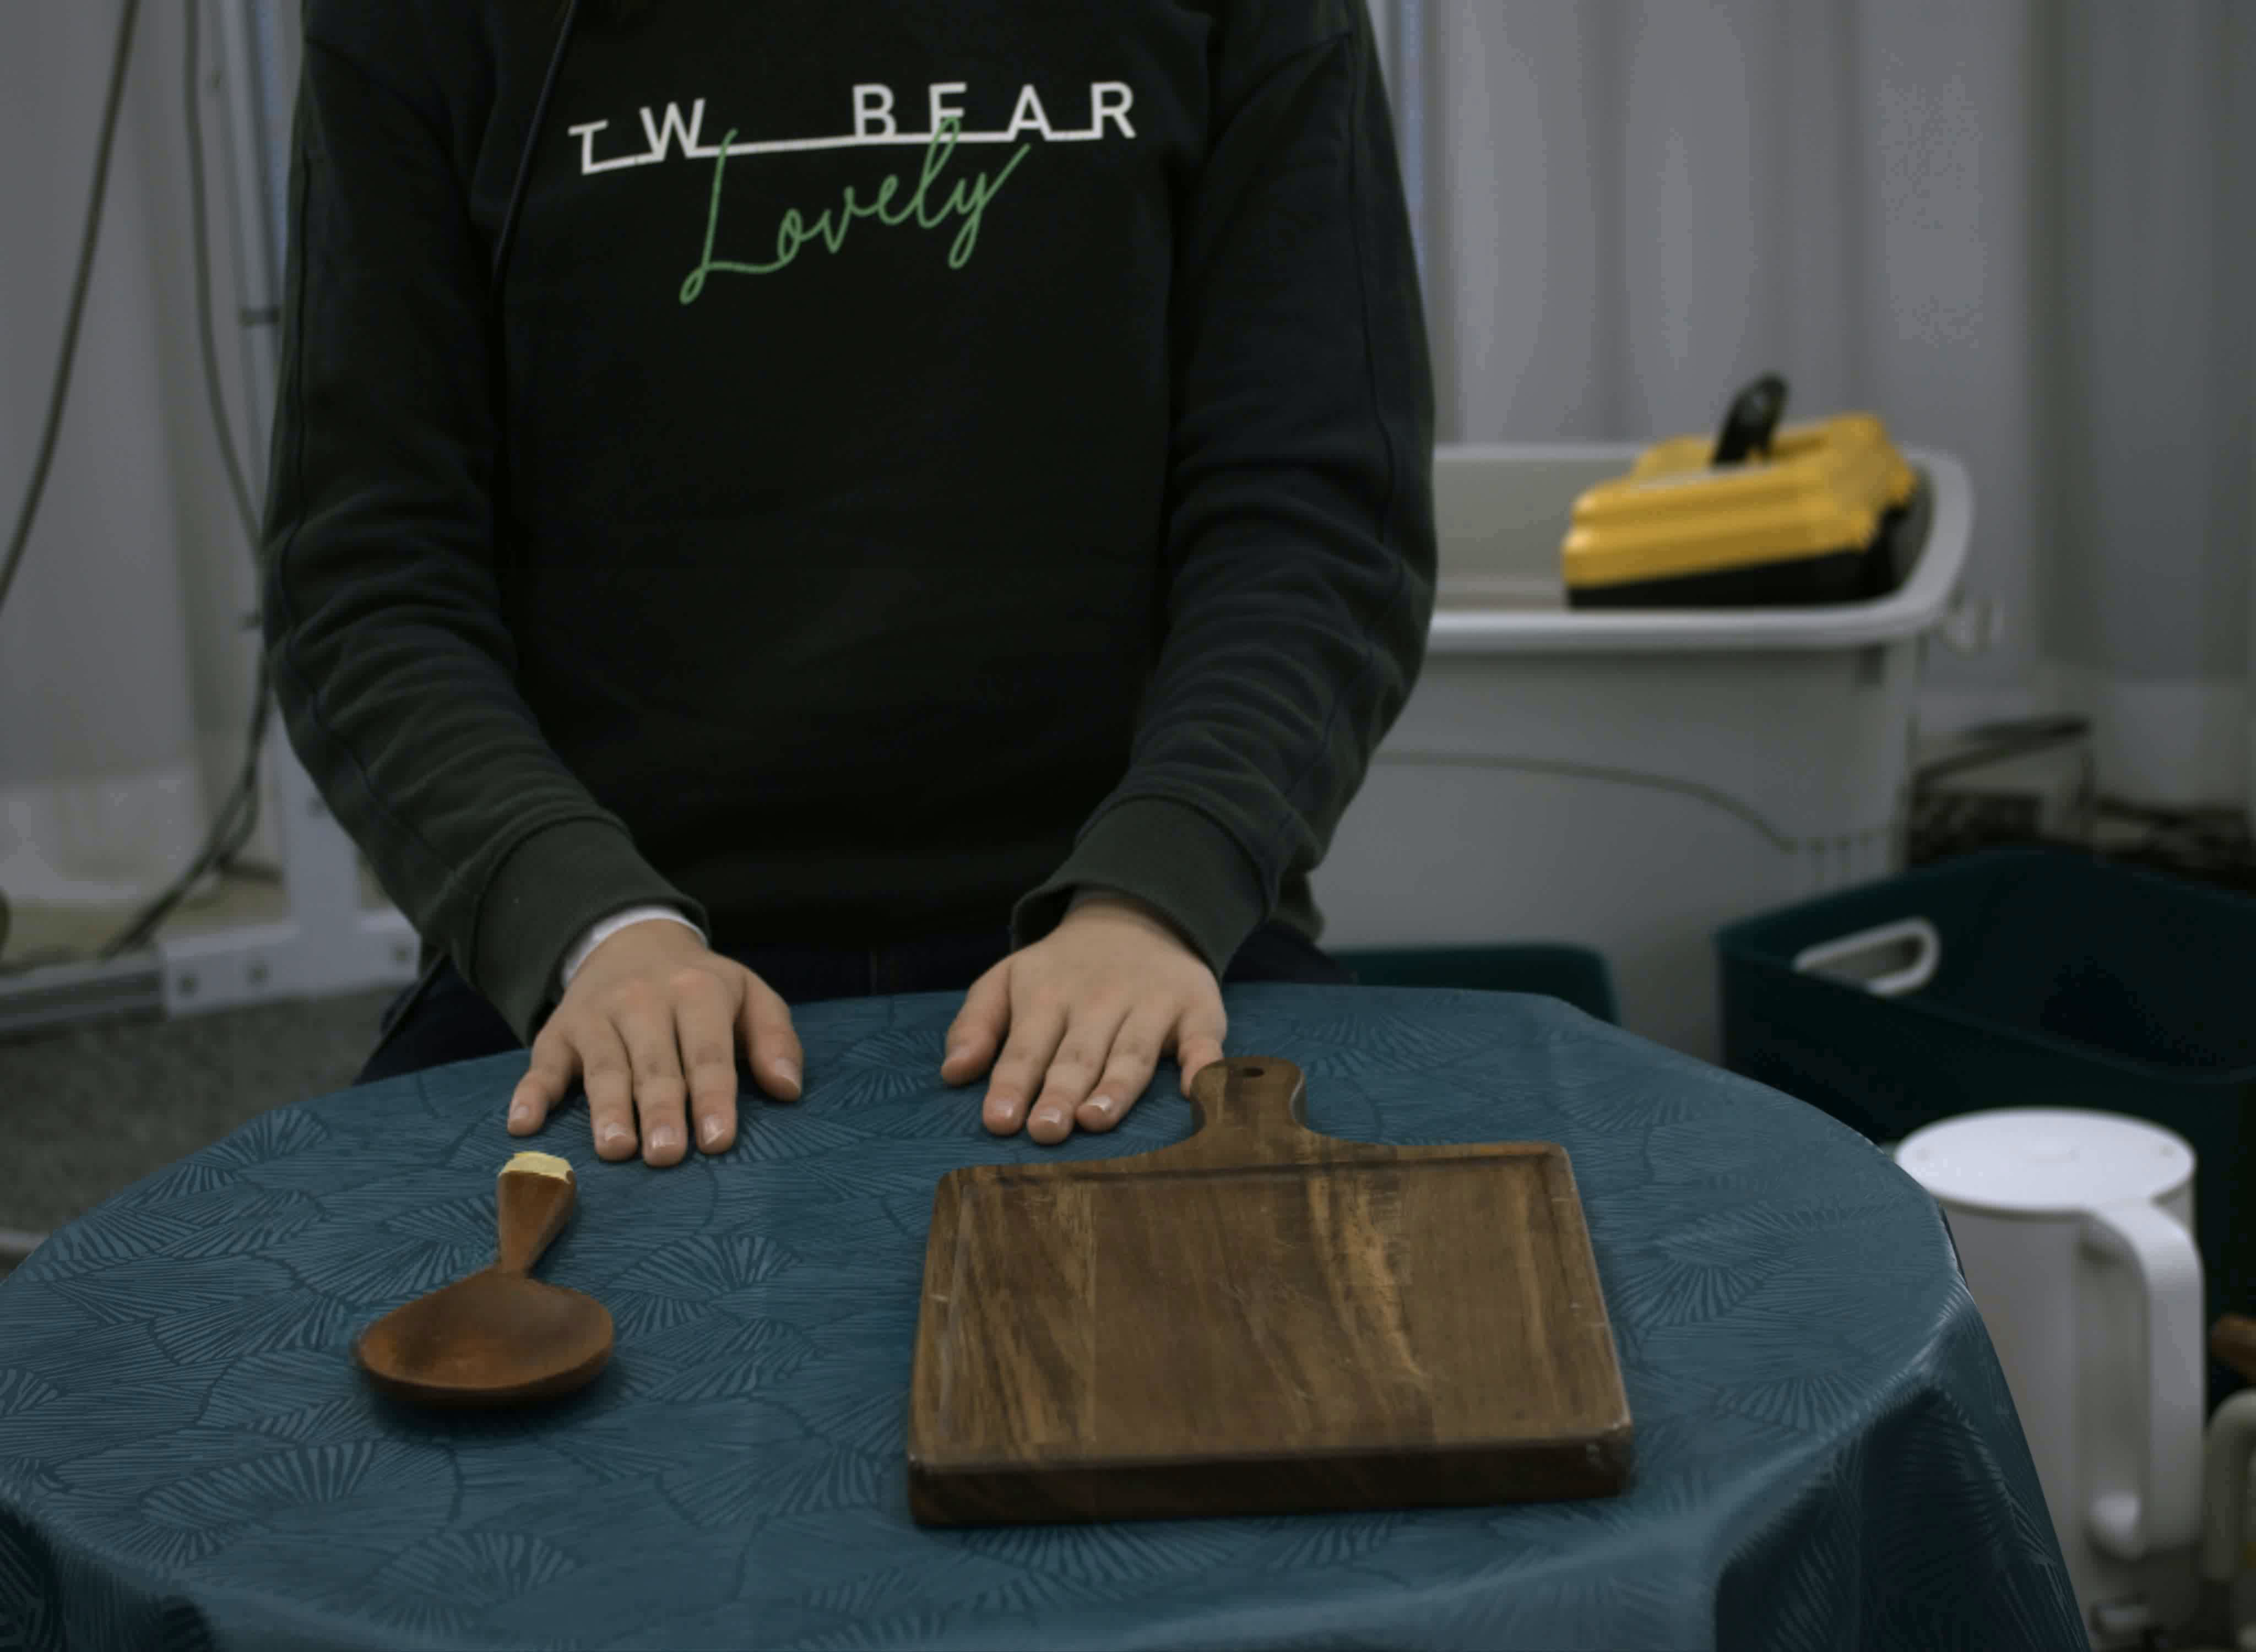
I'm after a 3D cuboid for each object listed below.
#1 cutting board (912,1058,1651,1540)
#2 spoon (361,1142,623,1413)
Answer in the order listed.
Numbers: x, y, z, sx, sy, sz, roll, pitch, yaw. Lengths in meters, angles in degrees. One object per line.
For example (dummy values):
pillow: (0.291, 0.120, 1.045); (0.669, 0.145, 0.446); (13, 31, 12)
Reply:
cutting board: (0.039, 0.131, 1.614); (0.200, 0.023, 0.354); (-3, 15, 1)
spoon: (-0.184, 0.136, 1.635); (0.075, 0.017, 0.217); (-5, 16, 0)
